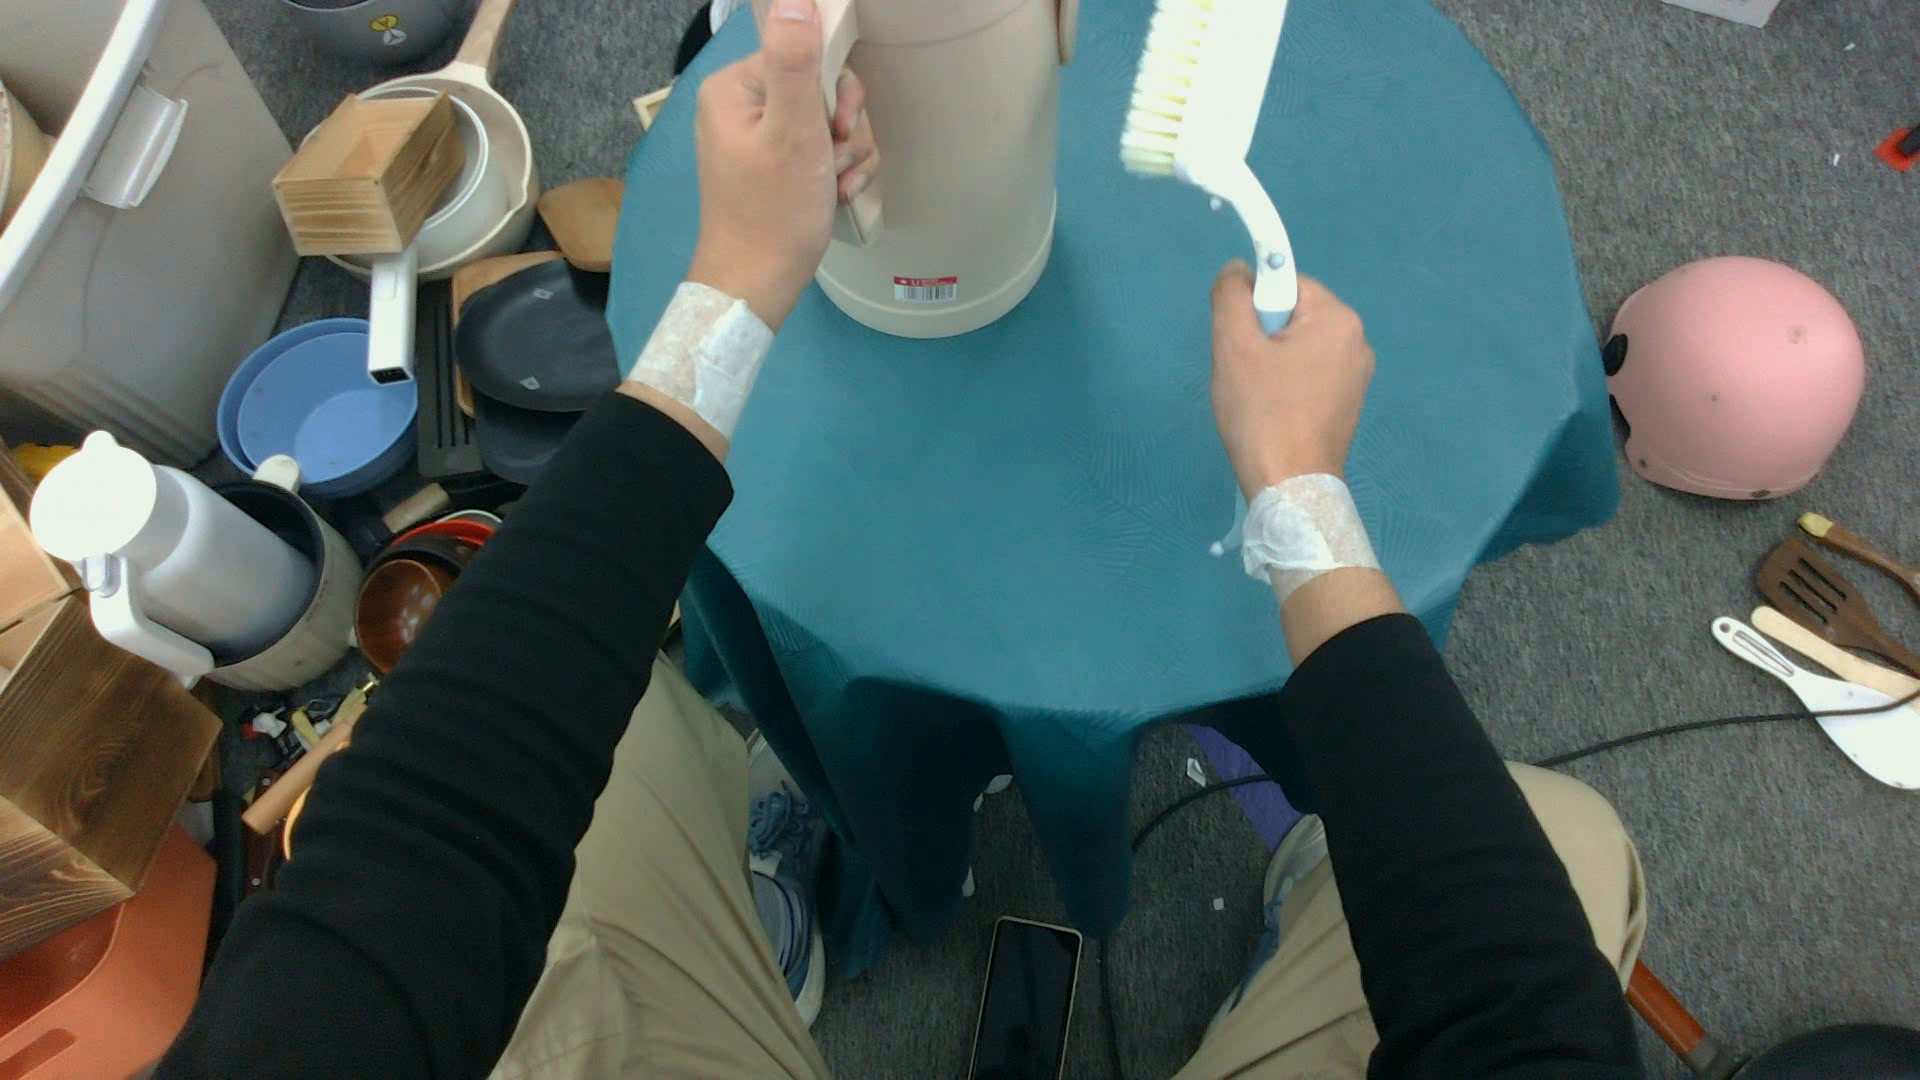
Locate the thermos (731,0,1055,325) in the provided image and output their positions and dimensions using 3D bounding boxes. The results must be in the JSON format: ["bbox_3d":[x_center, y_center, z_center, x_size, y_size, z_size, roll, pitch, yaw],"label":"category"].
[{"bbox_3d":[-0.041,-0.259,0.679,0.175,0.405,0.208,19,71,6],"label":"thermos"}]

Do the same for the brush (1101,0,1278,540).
[{"bbox_3d":[0.108,-0.158,0.686,0.083,0.084,0.324,-5,110,-16],"label":"brush"}]
